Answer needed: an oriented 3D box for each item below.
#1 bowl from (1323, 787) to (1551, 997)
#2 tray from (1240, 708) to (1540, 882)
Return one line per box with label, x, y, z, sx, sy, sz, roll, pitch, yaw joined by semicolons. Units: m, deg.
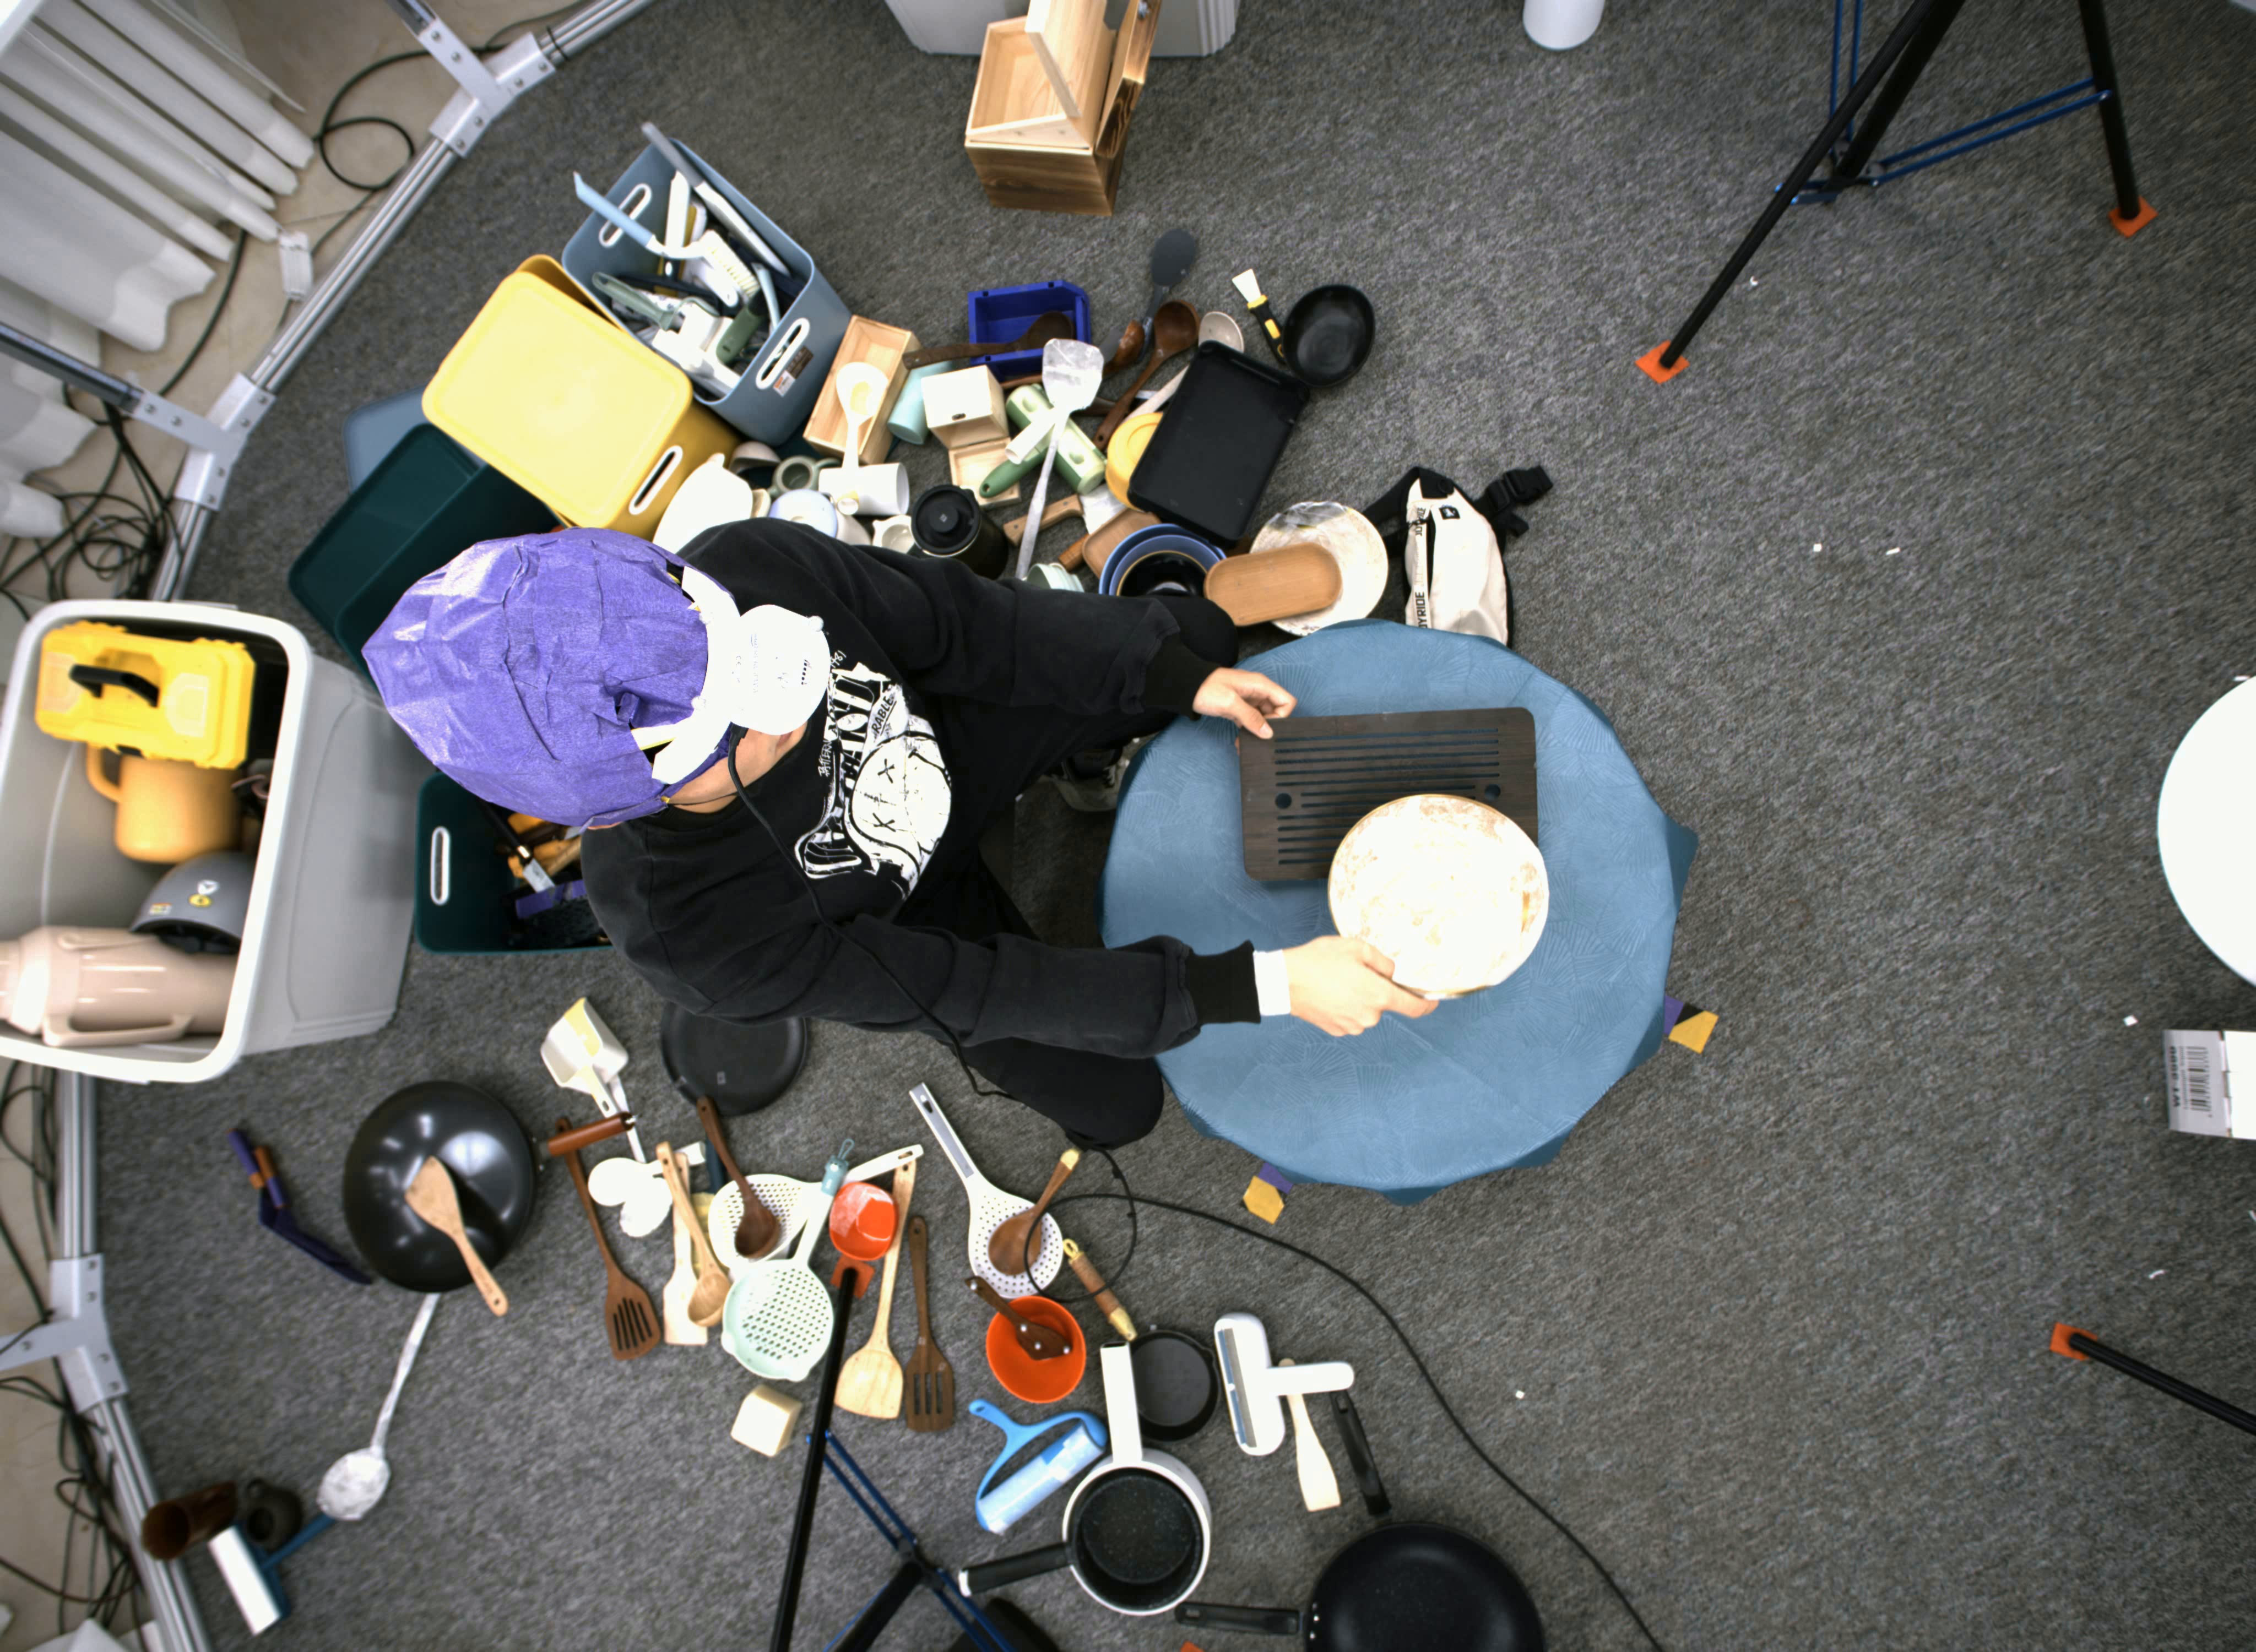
bowl;0.292;0.074;1.320;0.215;0.096;0.210;-4;65;9
tray;0.273;-0.034;1.437;0.307;0.018;0.170;-3;95;5
